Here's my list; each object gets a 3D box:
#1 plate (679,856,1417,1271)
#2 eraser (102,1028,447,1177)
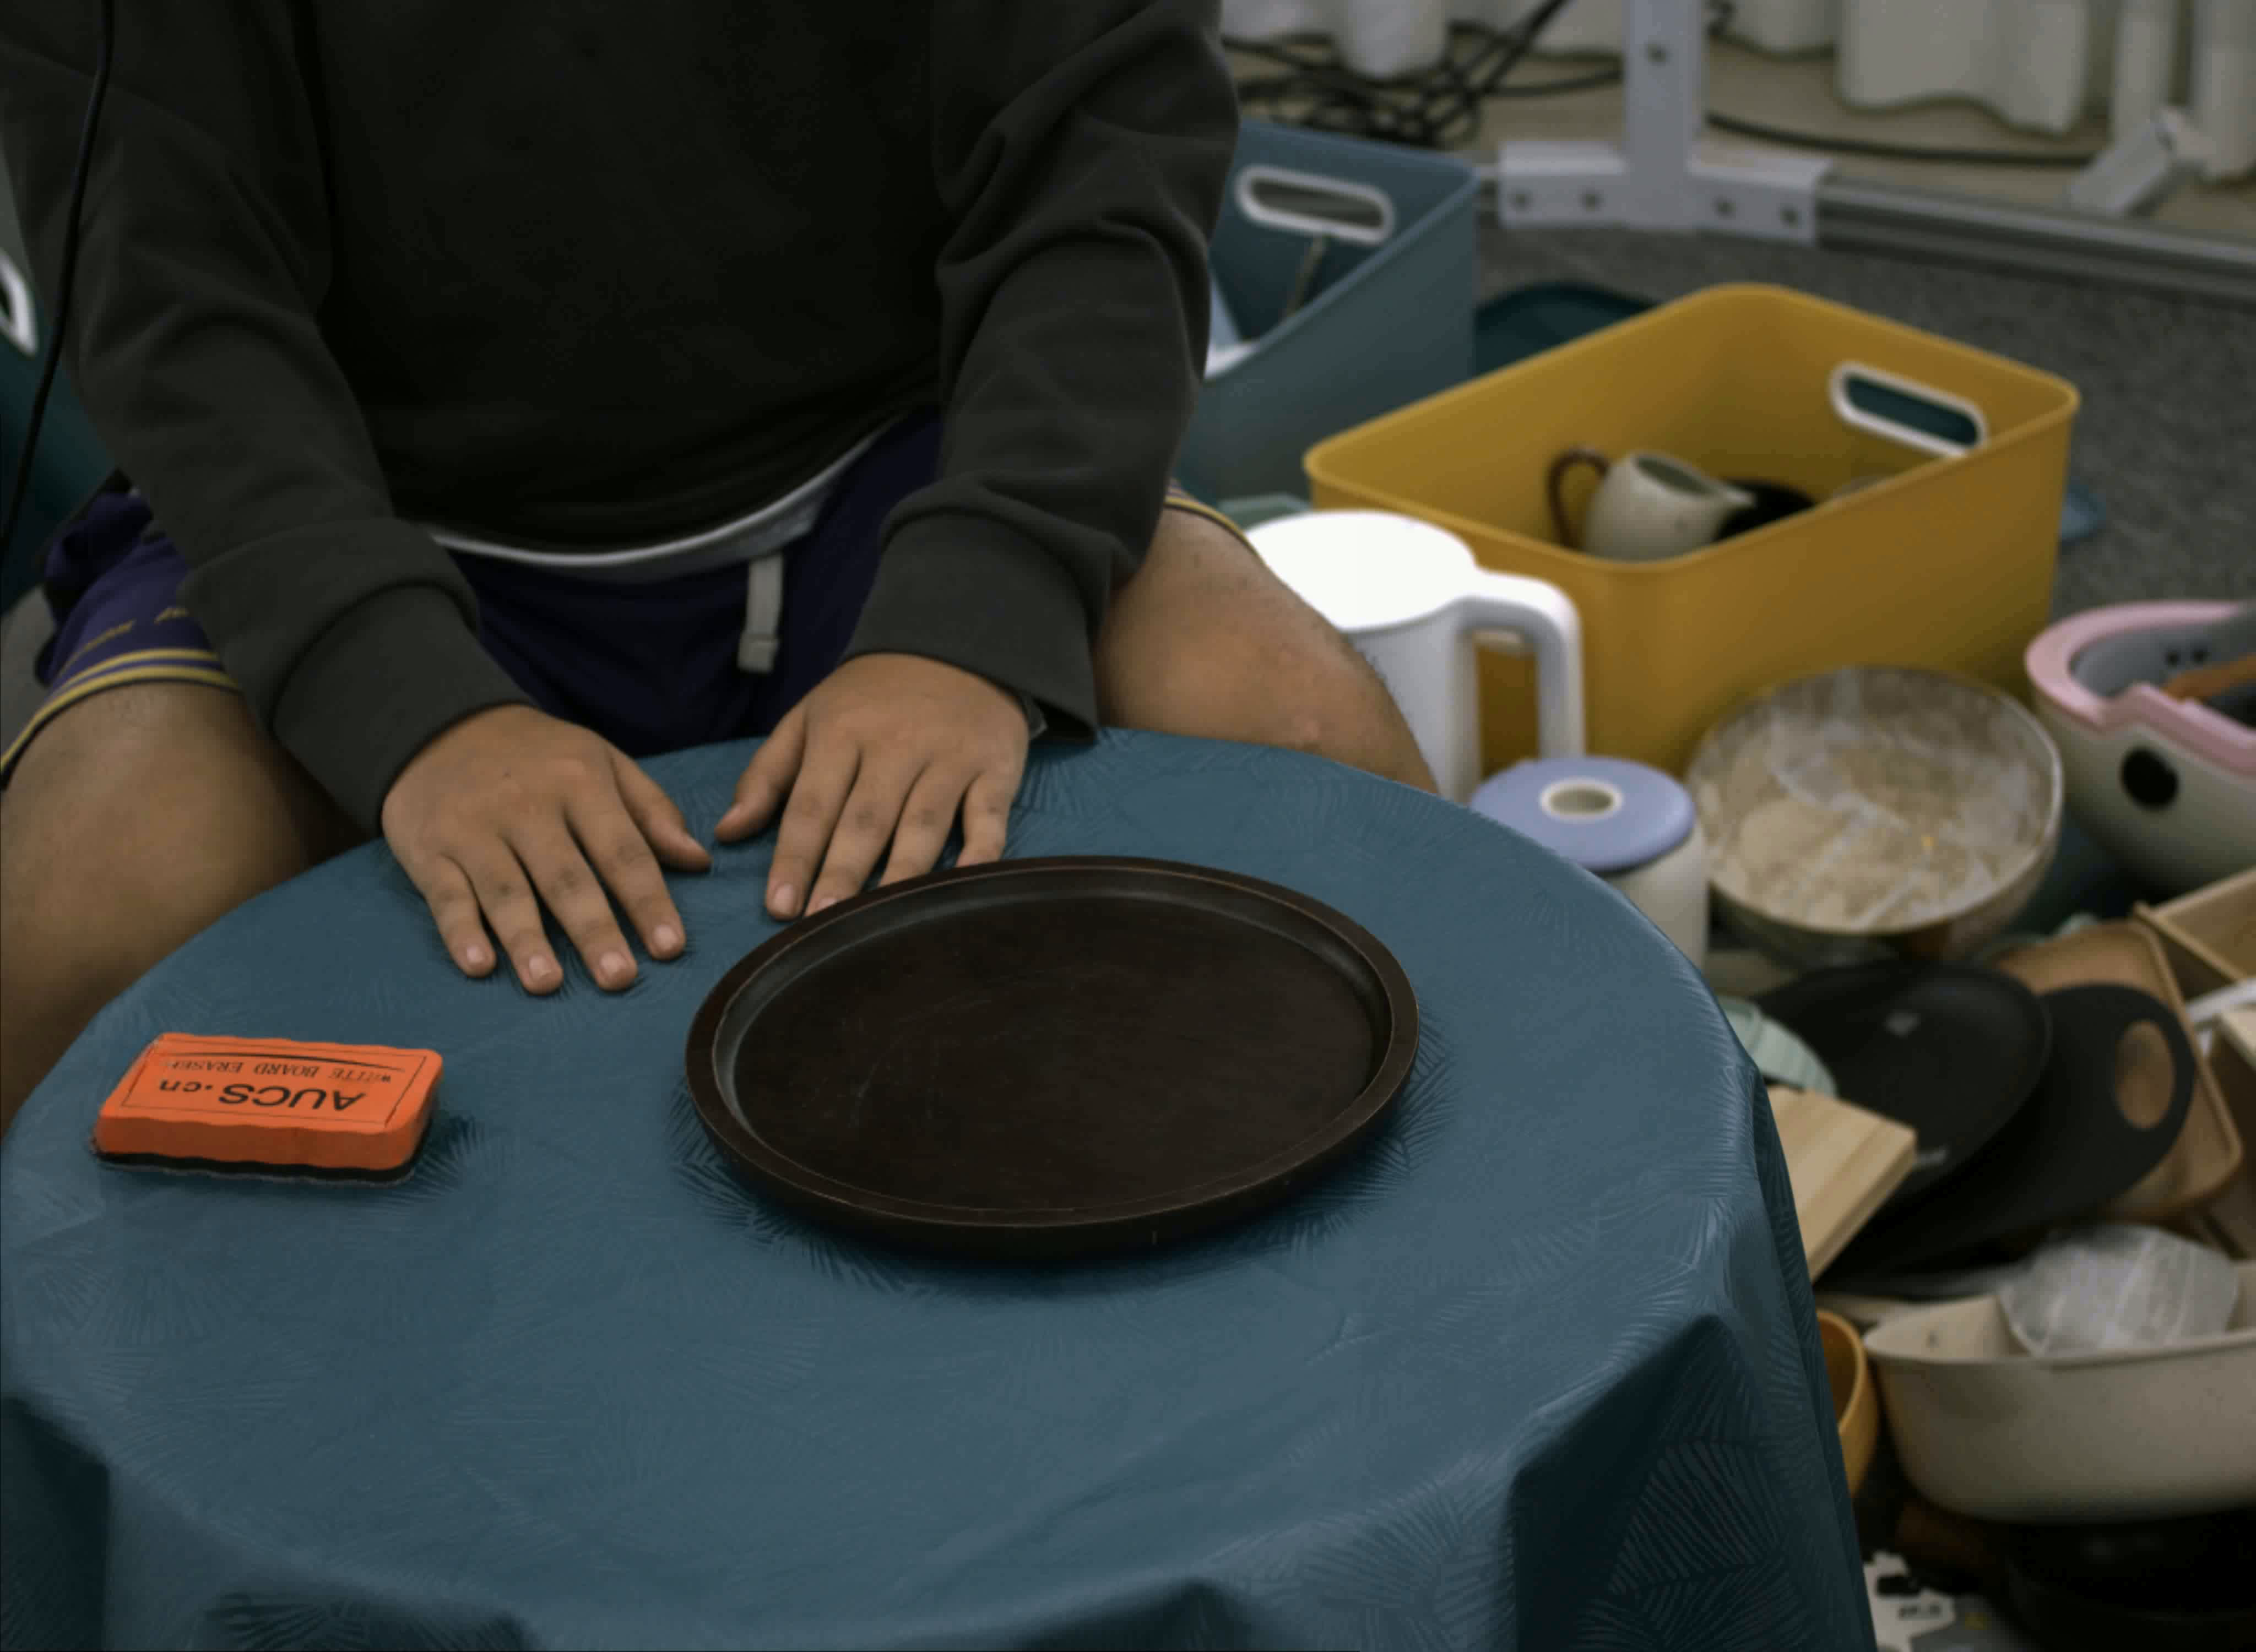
[{"bbox_3d":[-0.026,0.079,1.923,0.253,0.029,0.259,-3,28,2],"label":"plate"},{"bbox_3d":[-0.290,0.095,1.911,0.107,0.022,0.060,2,28,12],"label":"eraser"}]
